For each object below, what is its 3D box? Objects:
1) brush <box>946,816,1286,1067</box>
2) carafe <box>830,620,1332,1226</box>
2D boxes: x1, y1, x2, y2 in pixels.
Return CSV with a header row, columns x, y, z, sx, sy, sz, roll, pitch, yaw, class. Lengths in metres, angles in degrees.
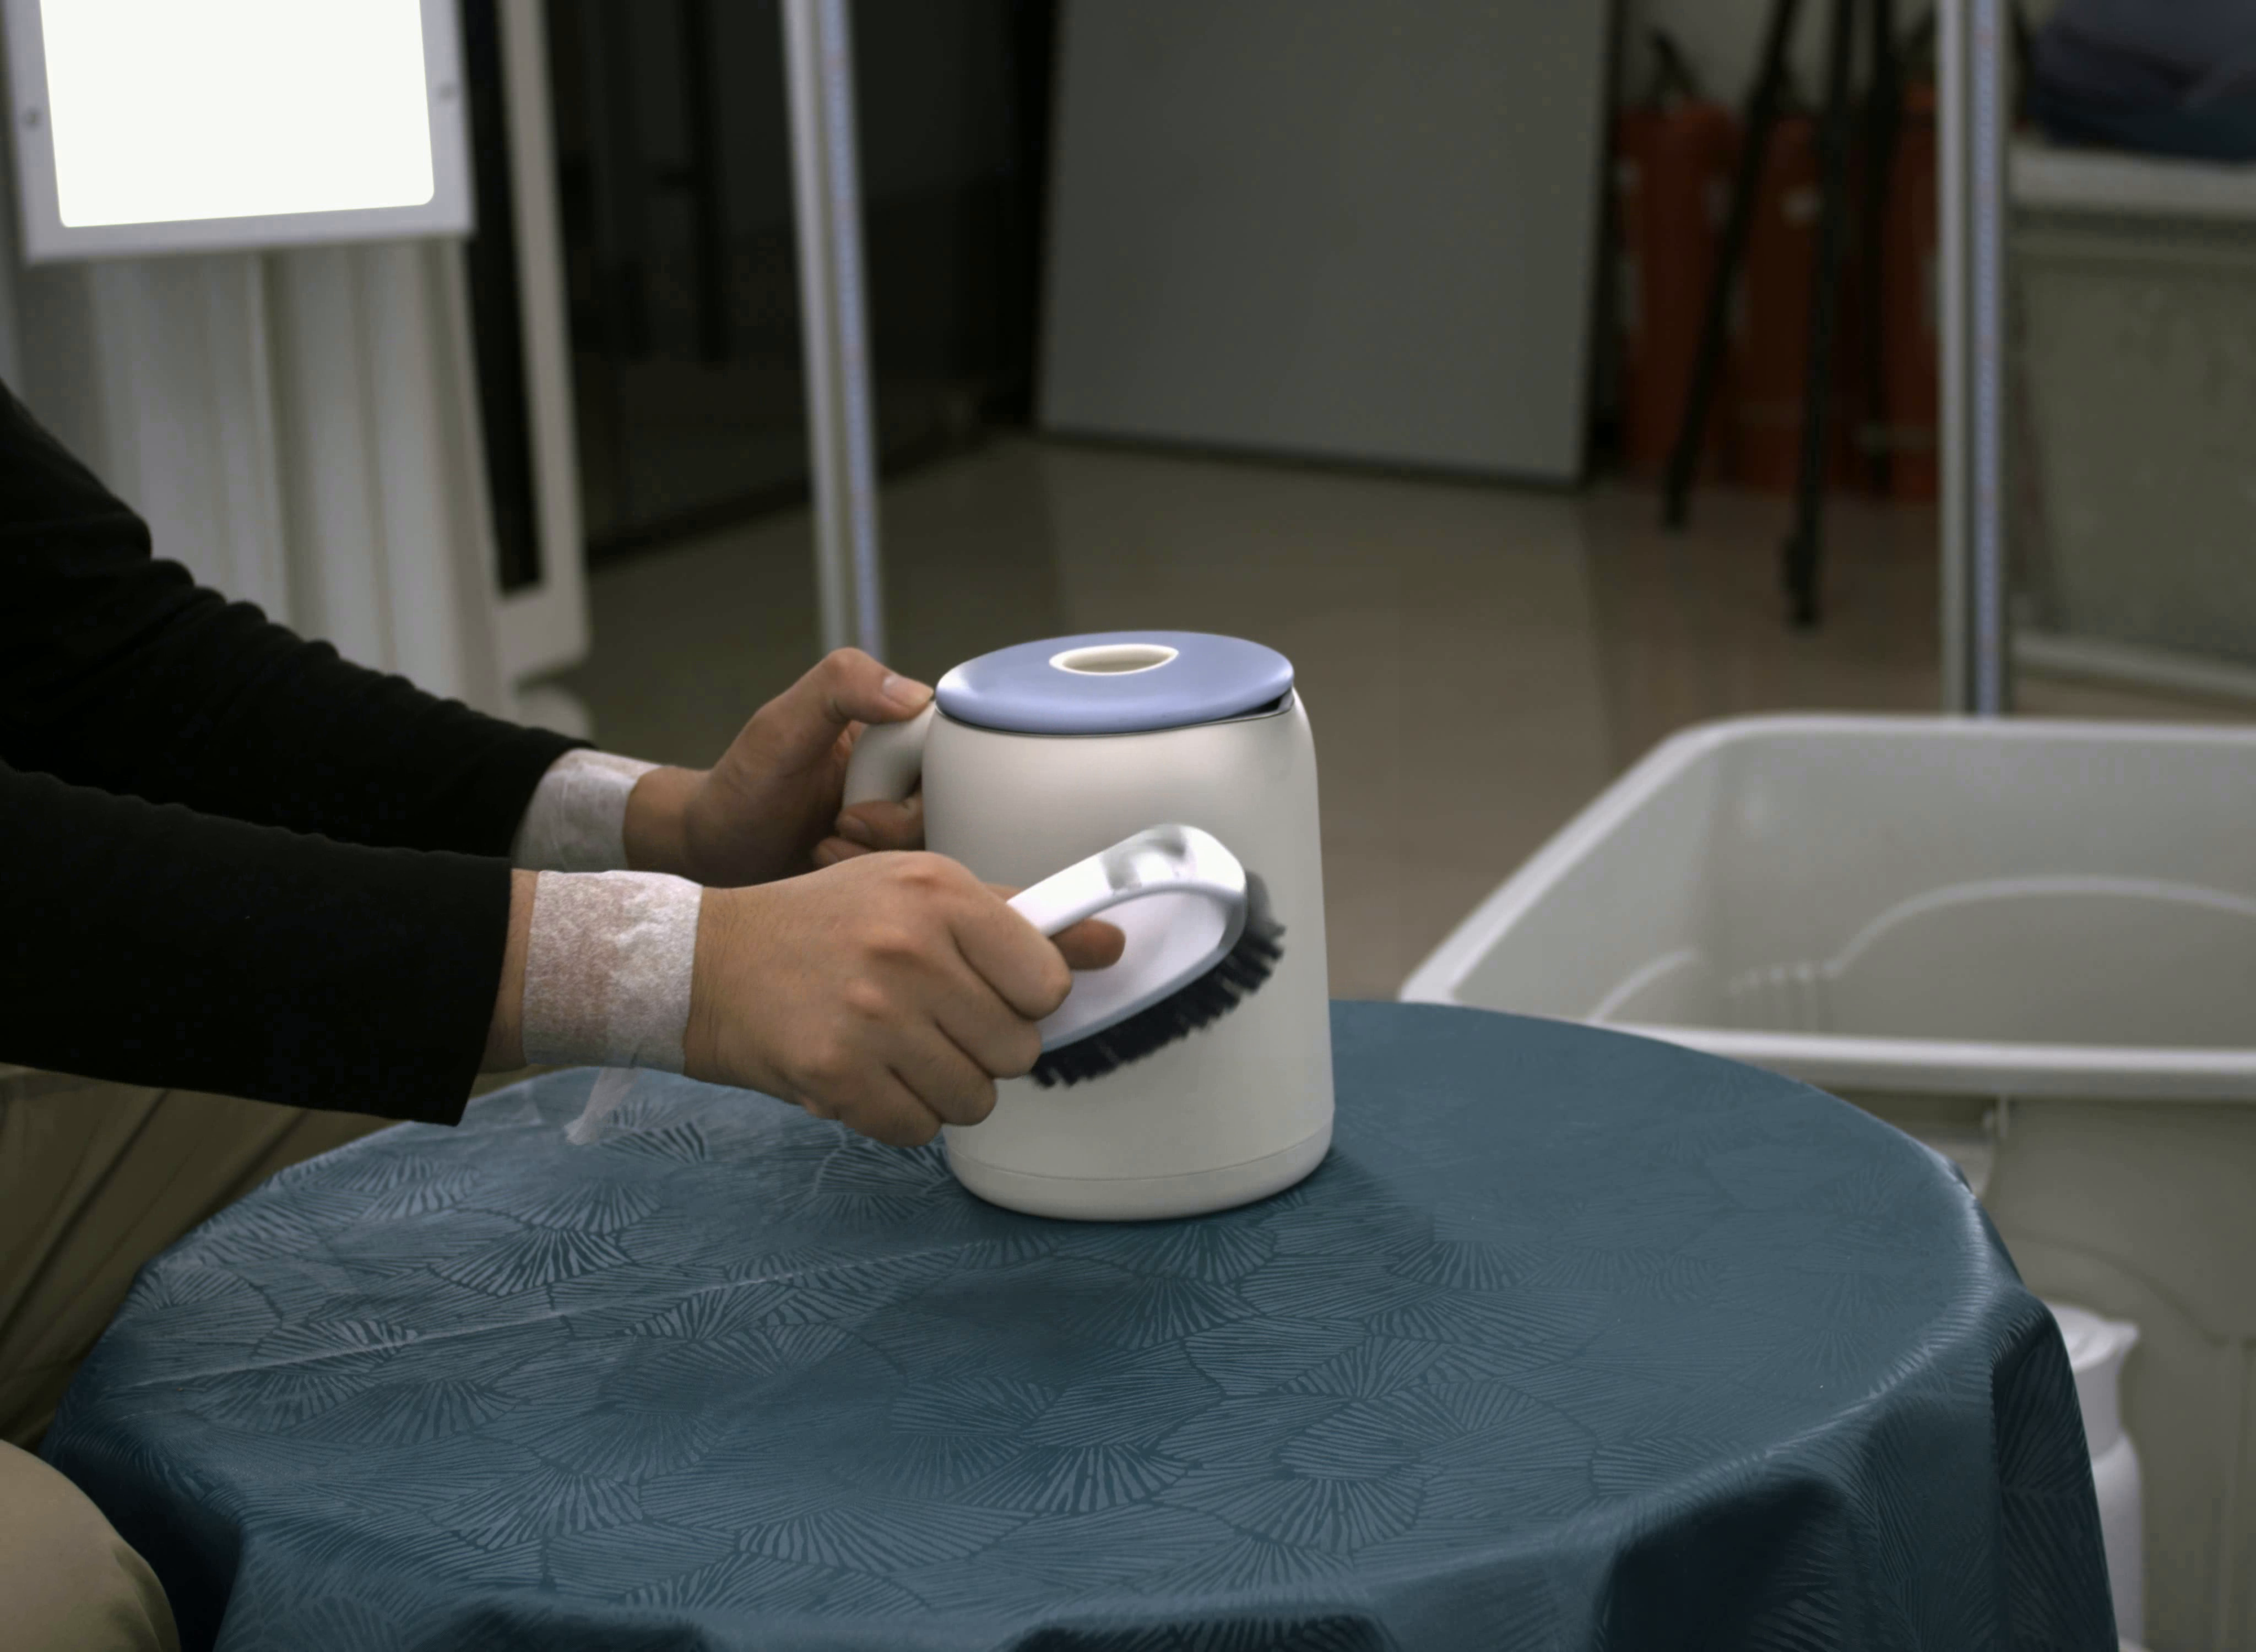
x,y,z,sx,sy,sz,roll,pitch,yaw,class
-0.010,0.030,1.628,0.099,0.051,0.071,-27,-29,16,brush
-0.021,0.029,1.789,0.192,0.184,0.130,4,15,36,carafe
